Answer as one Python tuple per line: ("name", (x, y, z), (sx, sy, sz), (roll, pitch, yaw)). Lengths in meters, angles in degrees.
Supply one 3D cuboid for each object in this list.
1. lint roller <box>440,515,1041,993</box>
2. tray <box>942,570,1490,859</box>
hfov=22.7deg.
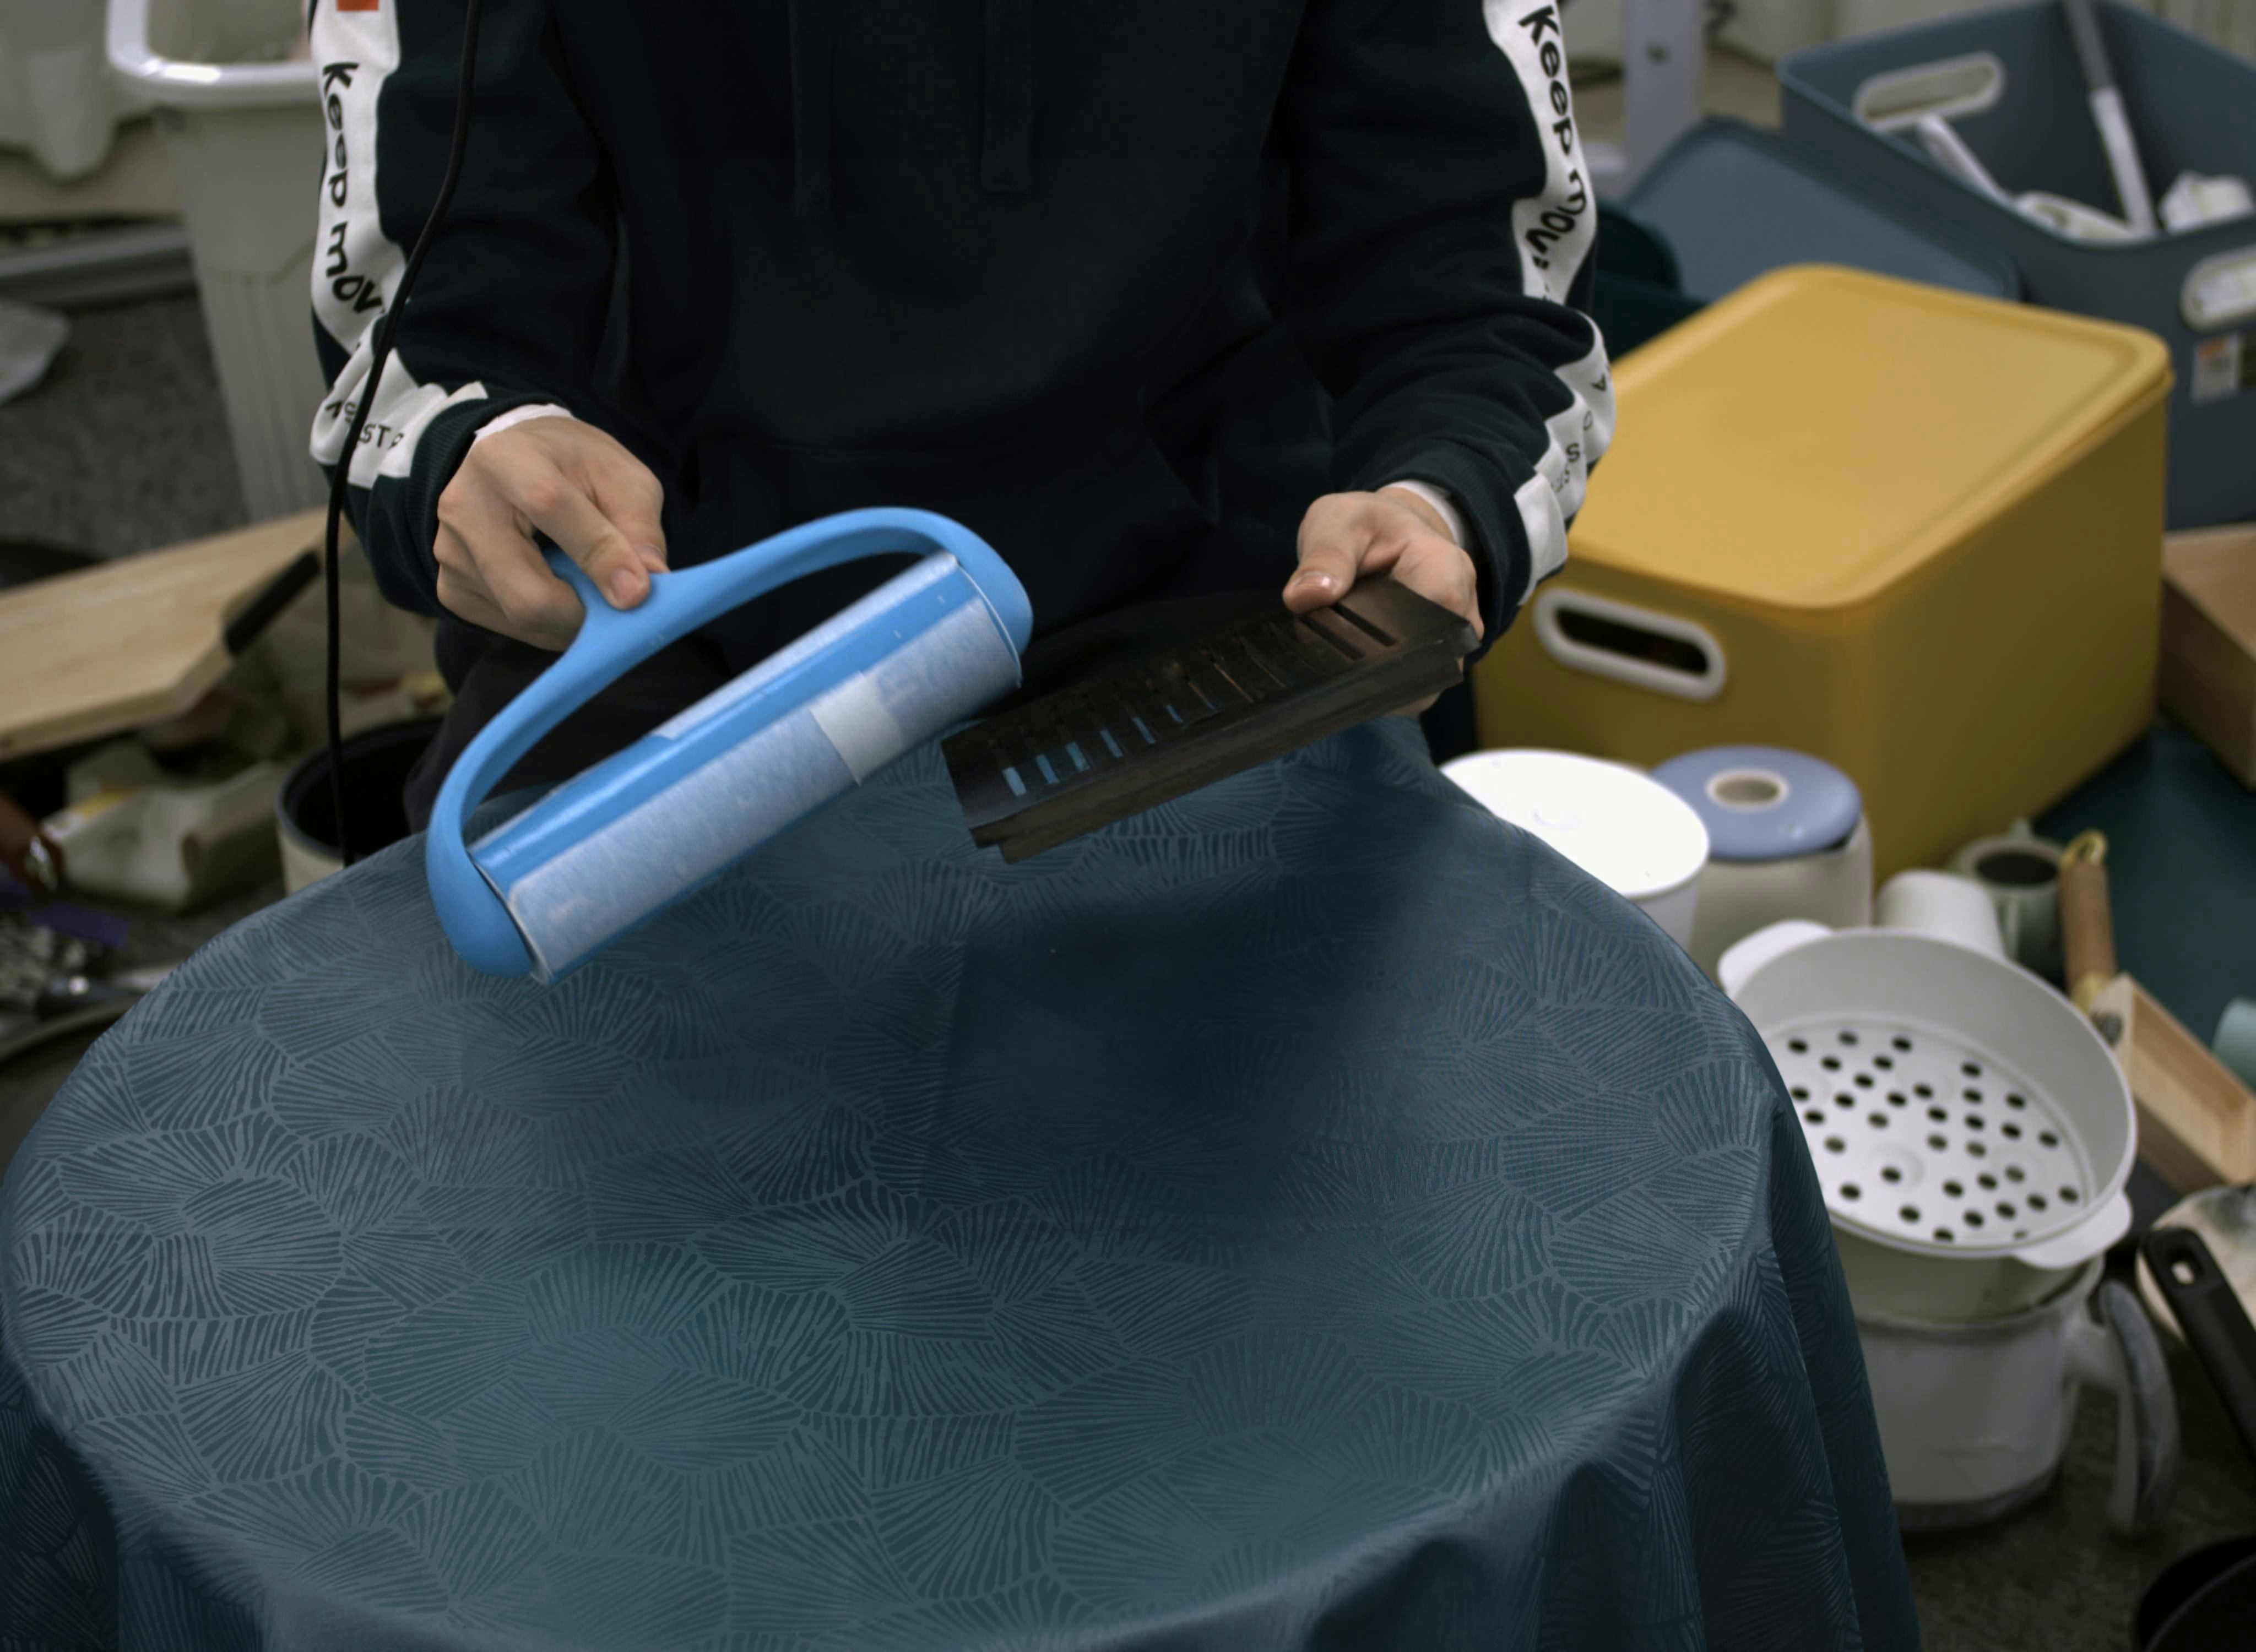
("lint roller", (-0.162, -0.052, 1.910), (0.231, 0.067, 0.181), (-36, 54, -17))
("tray", (0.024, -0.039, 1.877), (0.170, 0.018, 0.306), (-22, 7, -2))
